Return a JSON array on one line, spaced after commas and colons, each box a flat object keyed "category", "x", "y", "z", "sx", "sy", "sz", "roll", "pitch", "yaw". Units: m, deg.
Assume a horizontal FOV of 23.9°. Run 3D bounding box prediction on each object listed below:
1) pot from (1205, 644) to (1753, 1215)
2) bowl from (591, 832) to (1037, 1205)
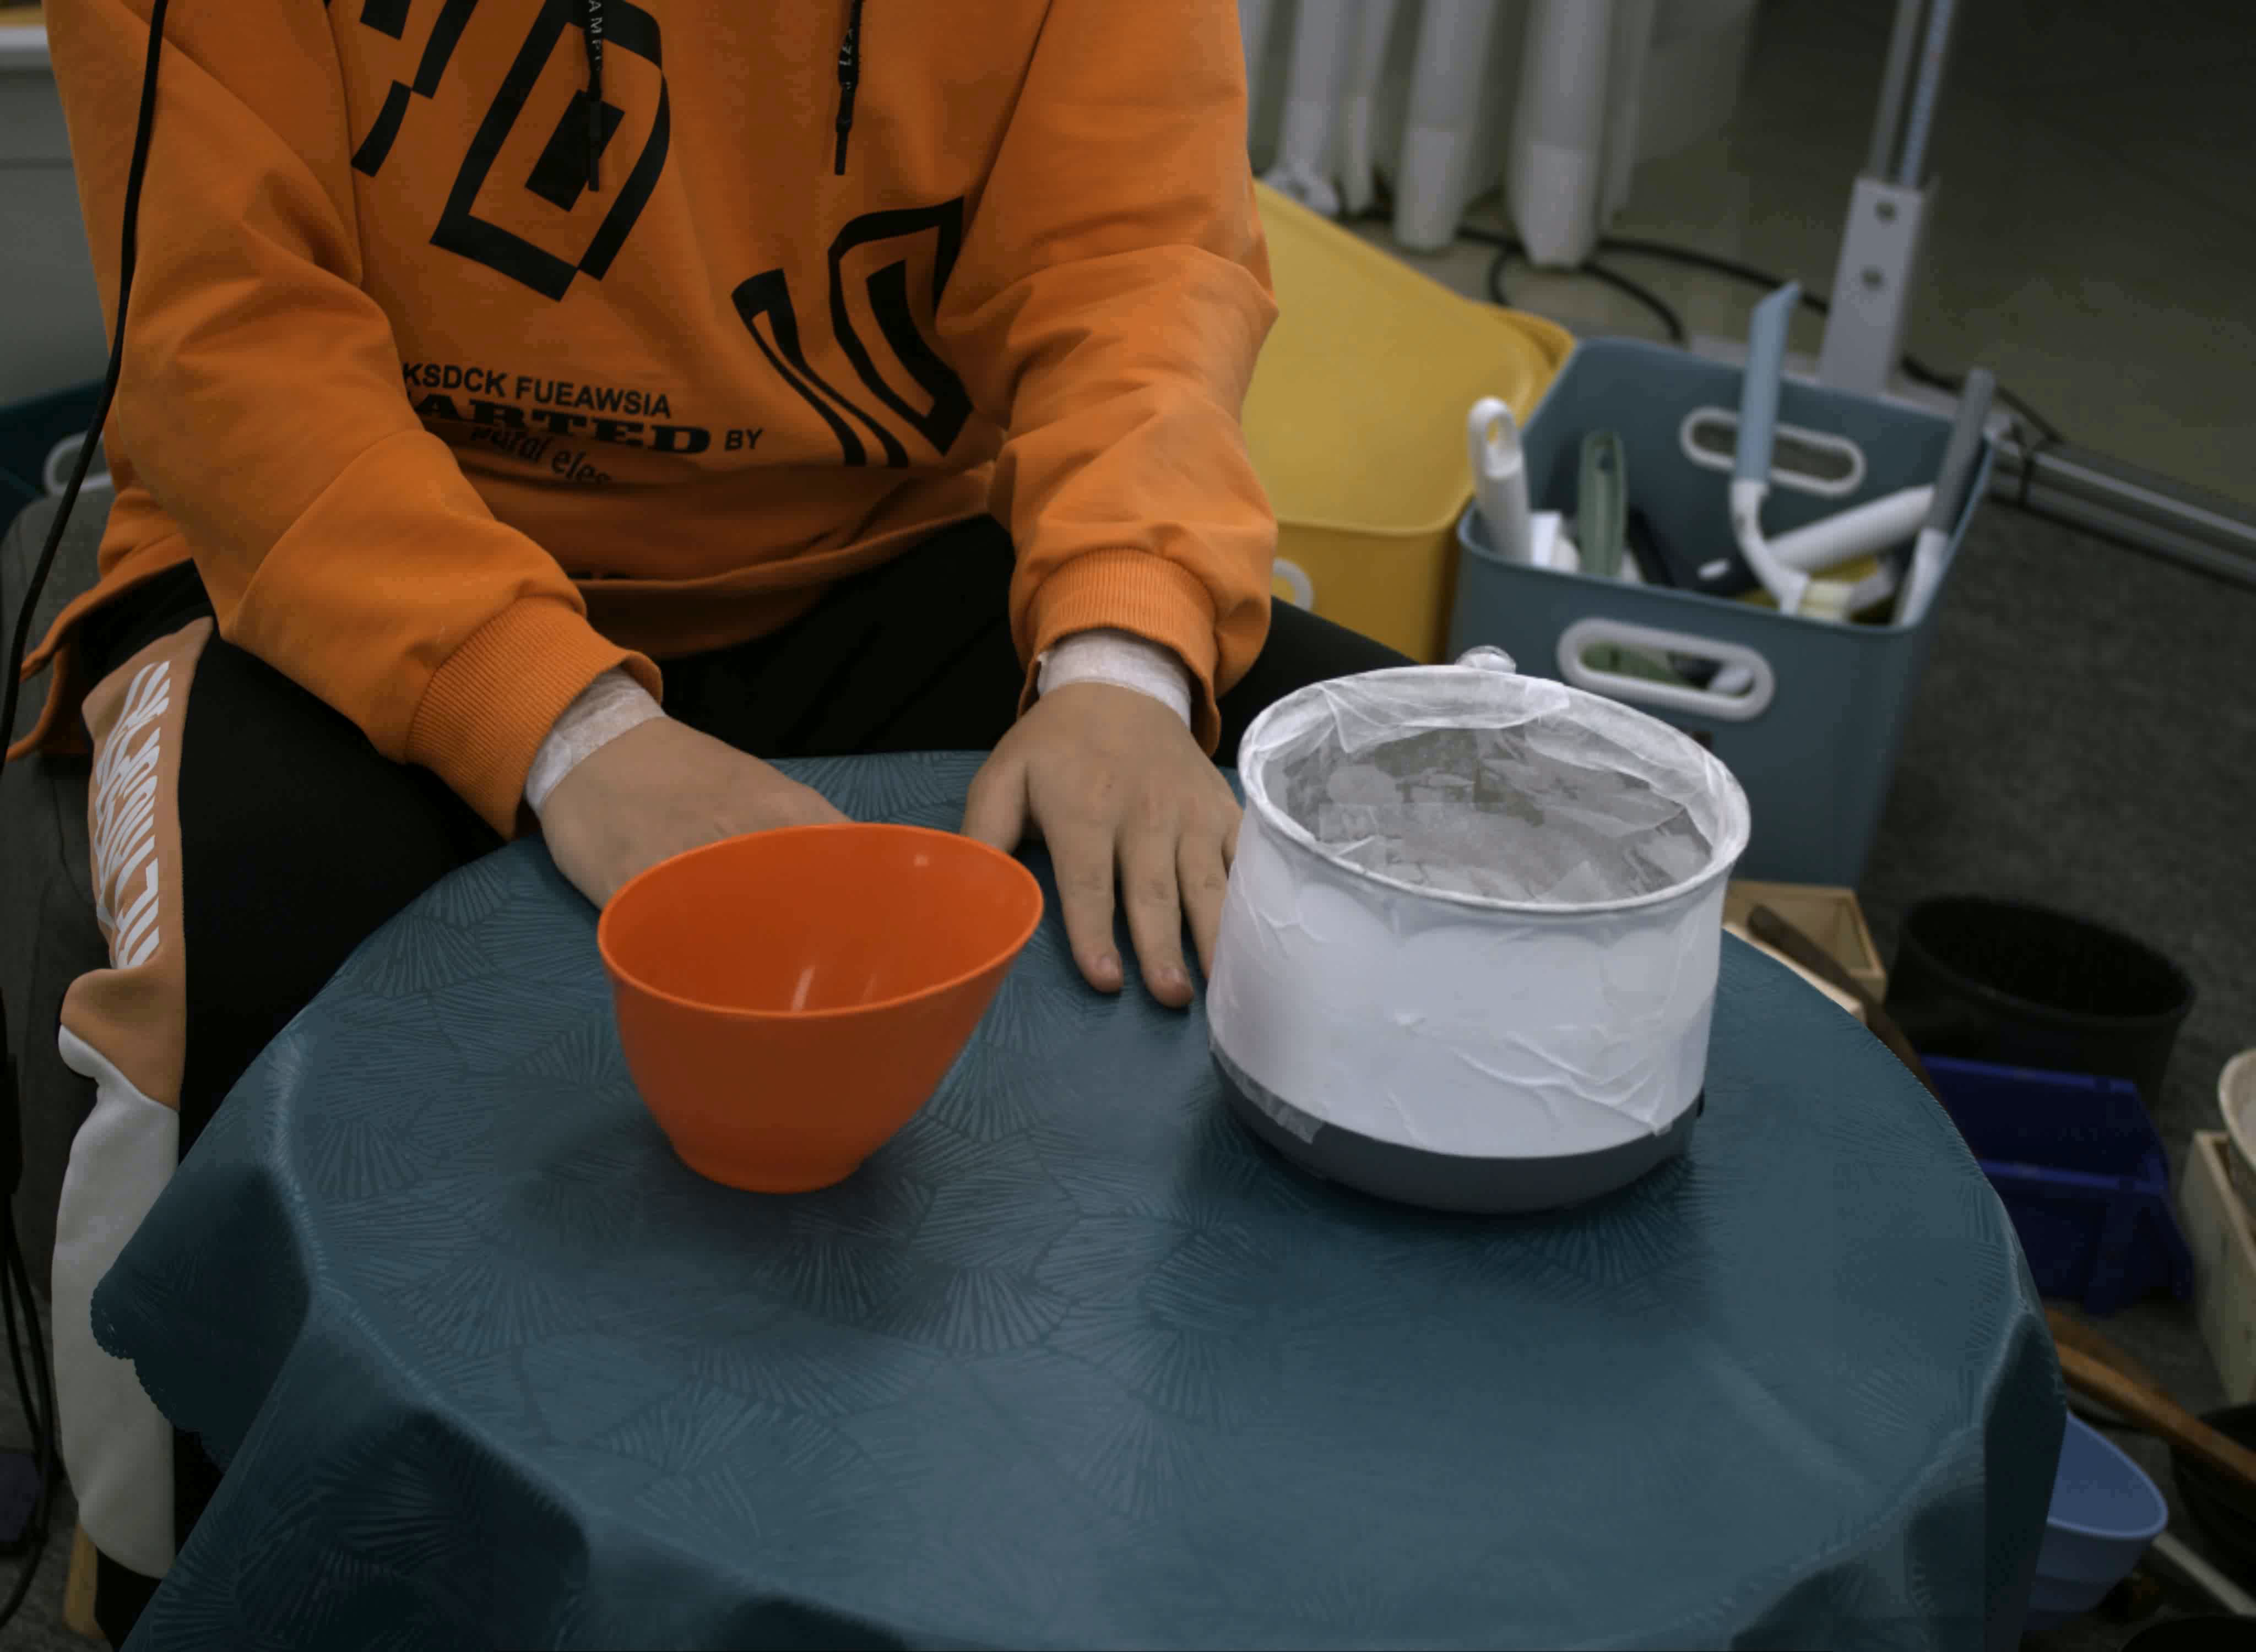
[{"category": "pot", "x": 0.118, "y": 0.029, "z": 1.865, "sx": 0.178, "sy": 0.136, "sz": 0.235, "roll": 6, "pitch": 27, "yaw": -2}, {"category": "bowl", "x": -0.108, "y": 0.069, "z": 1.781, "sx": 0.147, "sy": 0.104, "sz": 0.149, "roll": 4, "pitch": 26, "yaw": -2}]
